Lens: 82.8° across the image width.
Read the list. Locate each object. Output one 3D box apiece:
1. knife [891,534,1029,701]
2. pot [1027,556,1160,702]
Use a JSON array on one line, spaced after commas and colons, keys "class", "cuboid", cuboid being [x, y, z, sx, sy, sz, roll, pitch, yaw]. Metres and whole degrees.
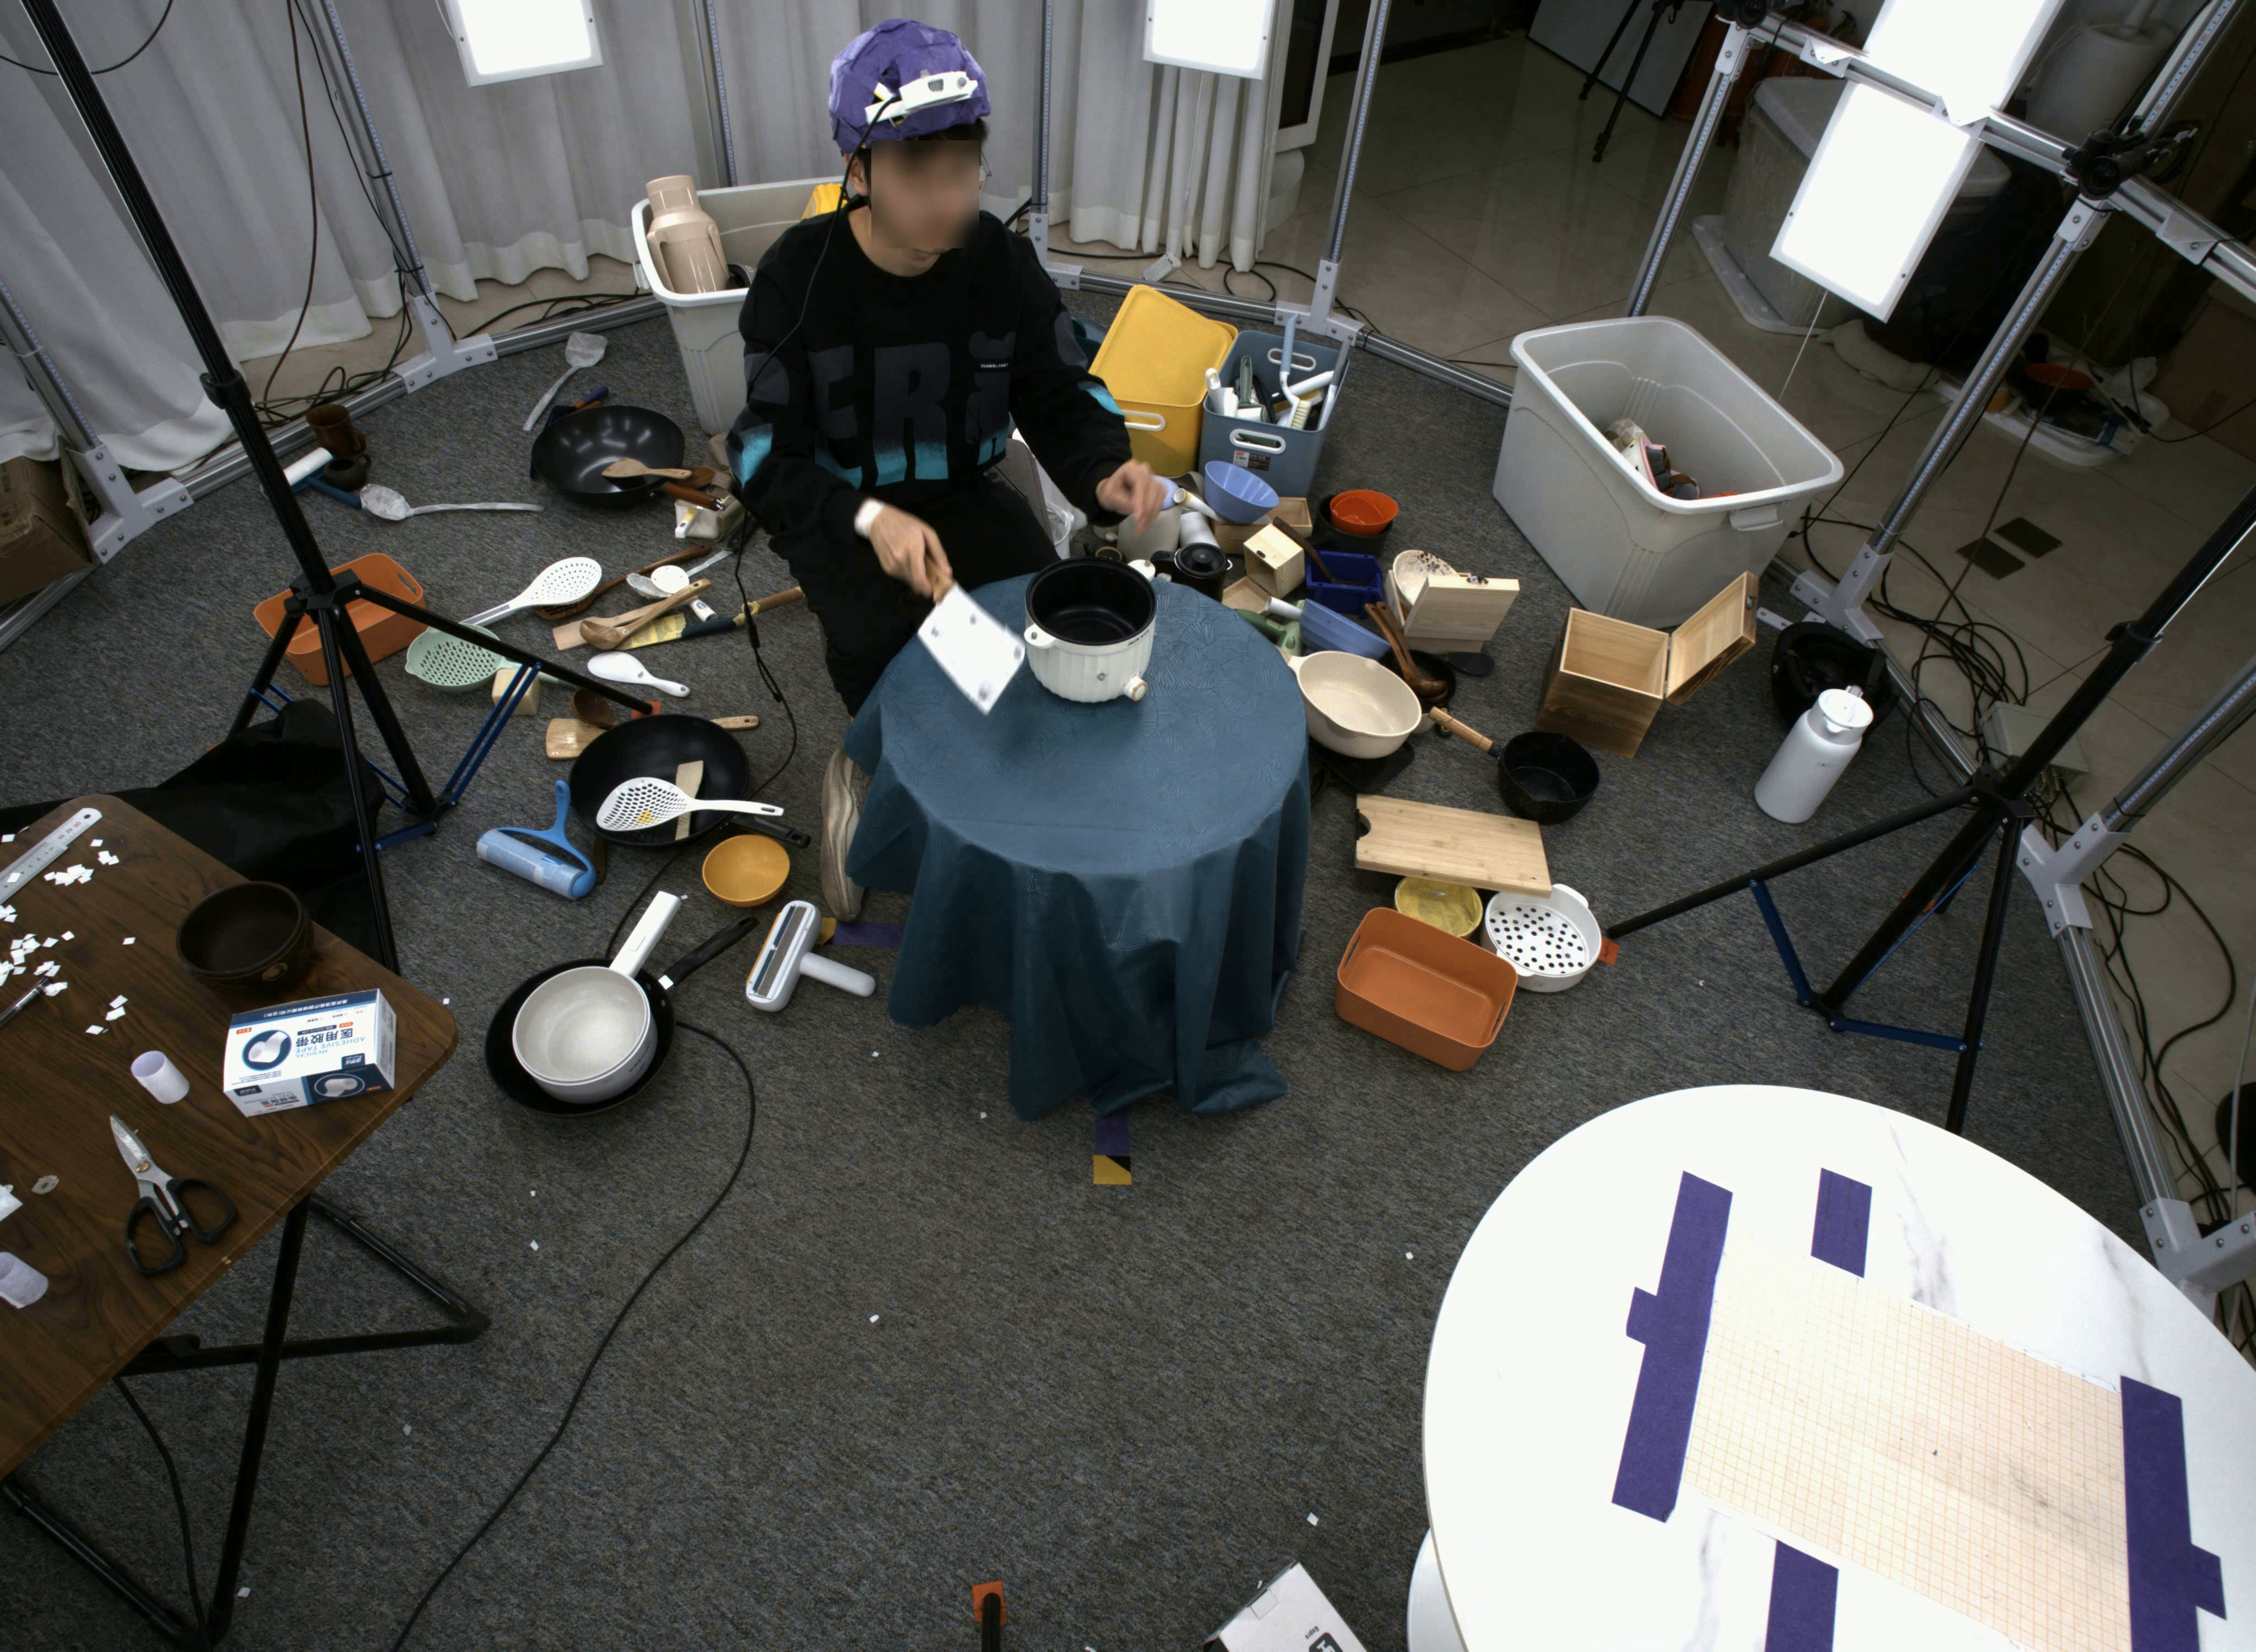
[{"class": "knife", "cuboid": [-0.229, -0.290, 1.700, 0.021, 0.113, 0.322, 19, 26, -52]}, {"class": "pot", "cuboid": [-0.045, -0.268, 1.808, 0.193, 0.139, 0.243, 35, 56, 27]}]
